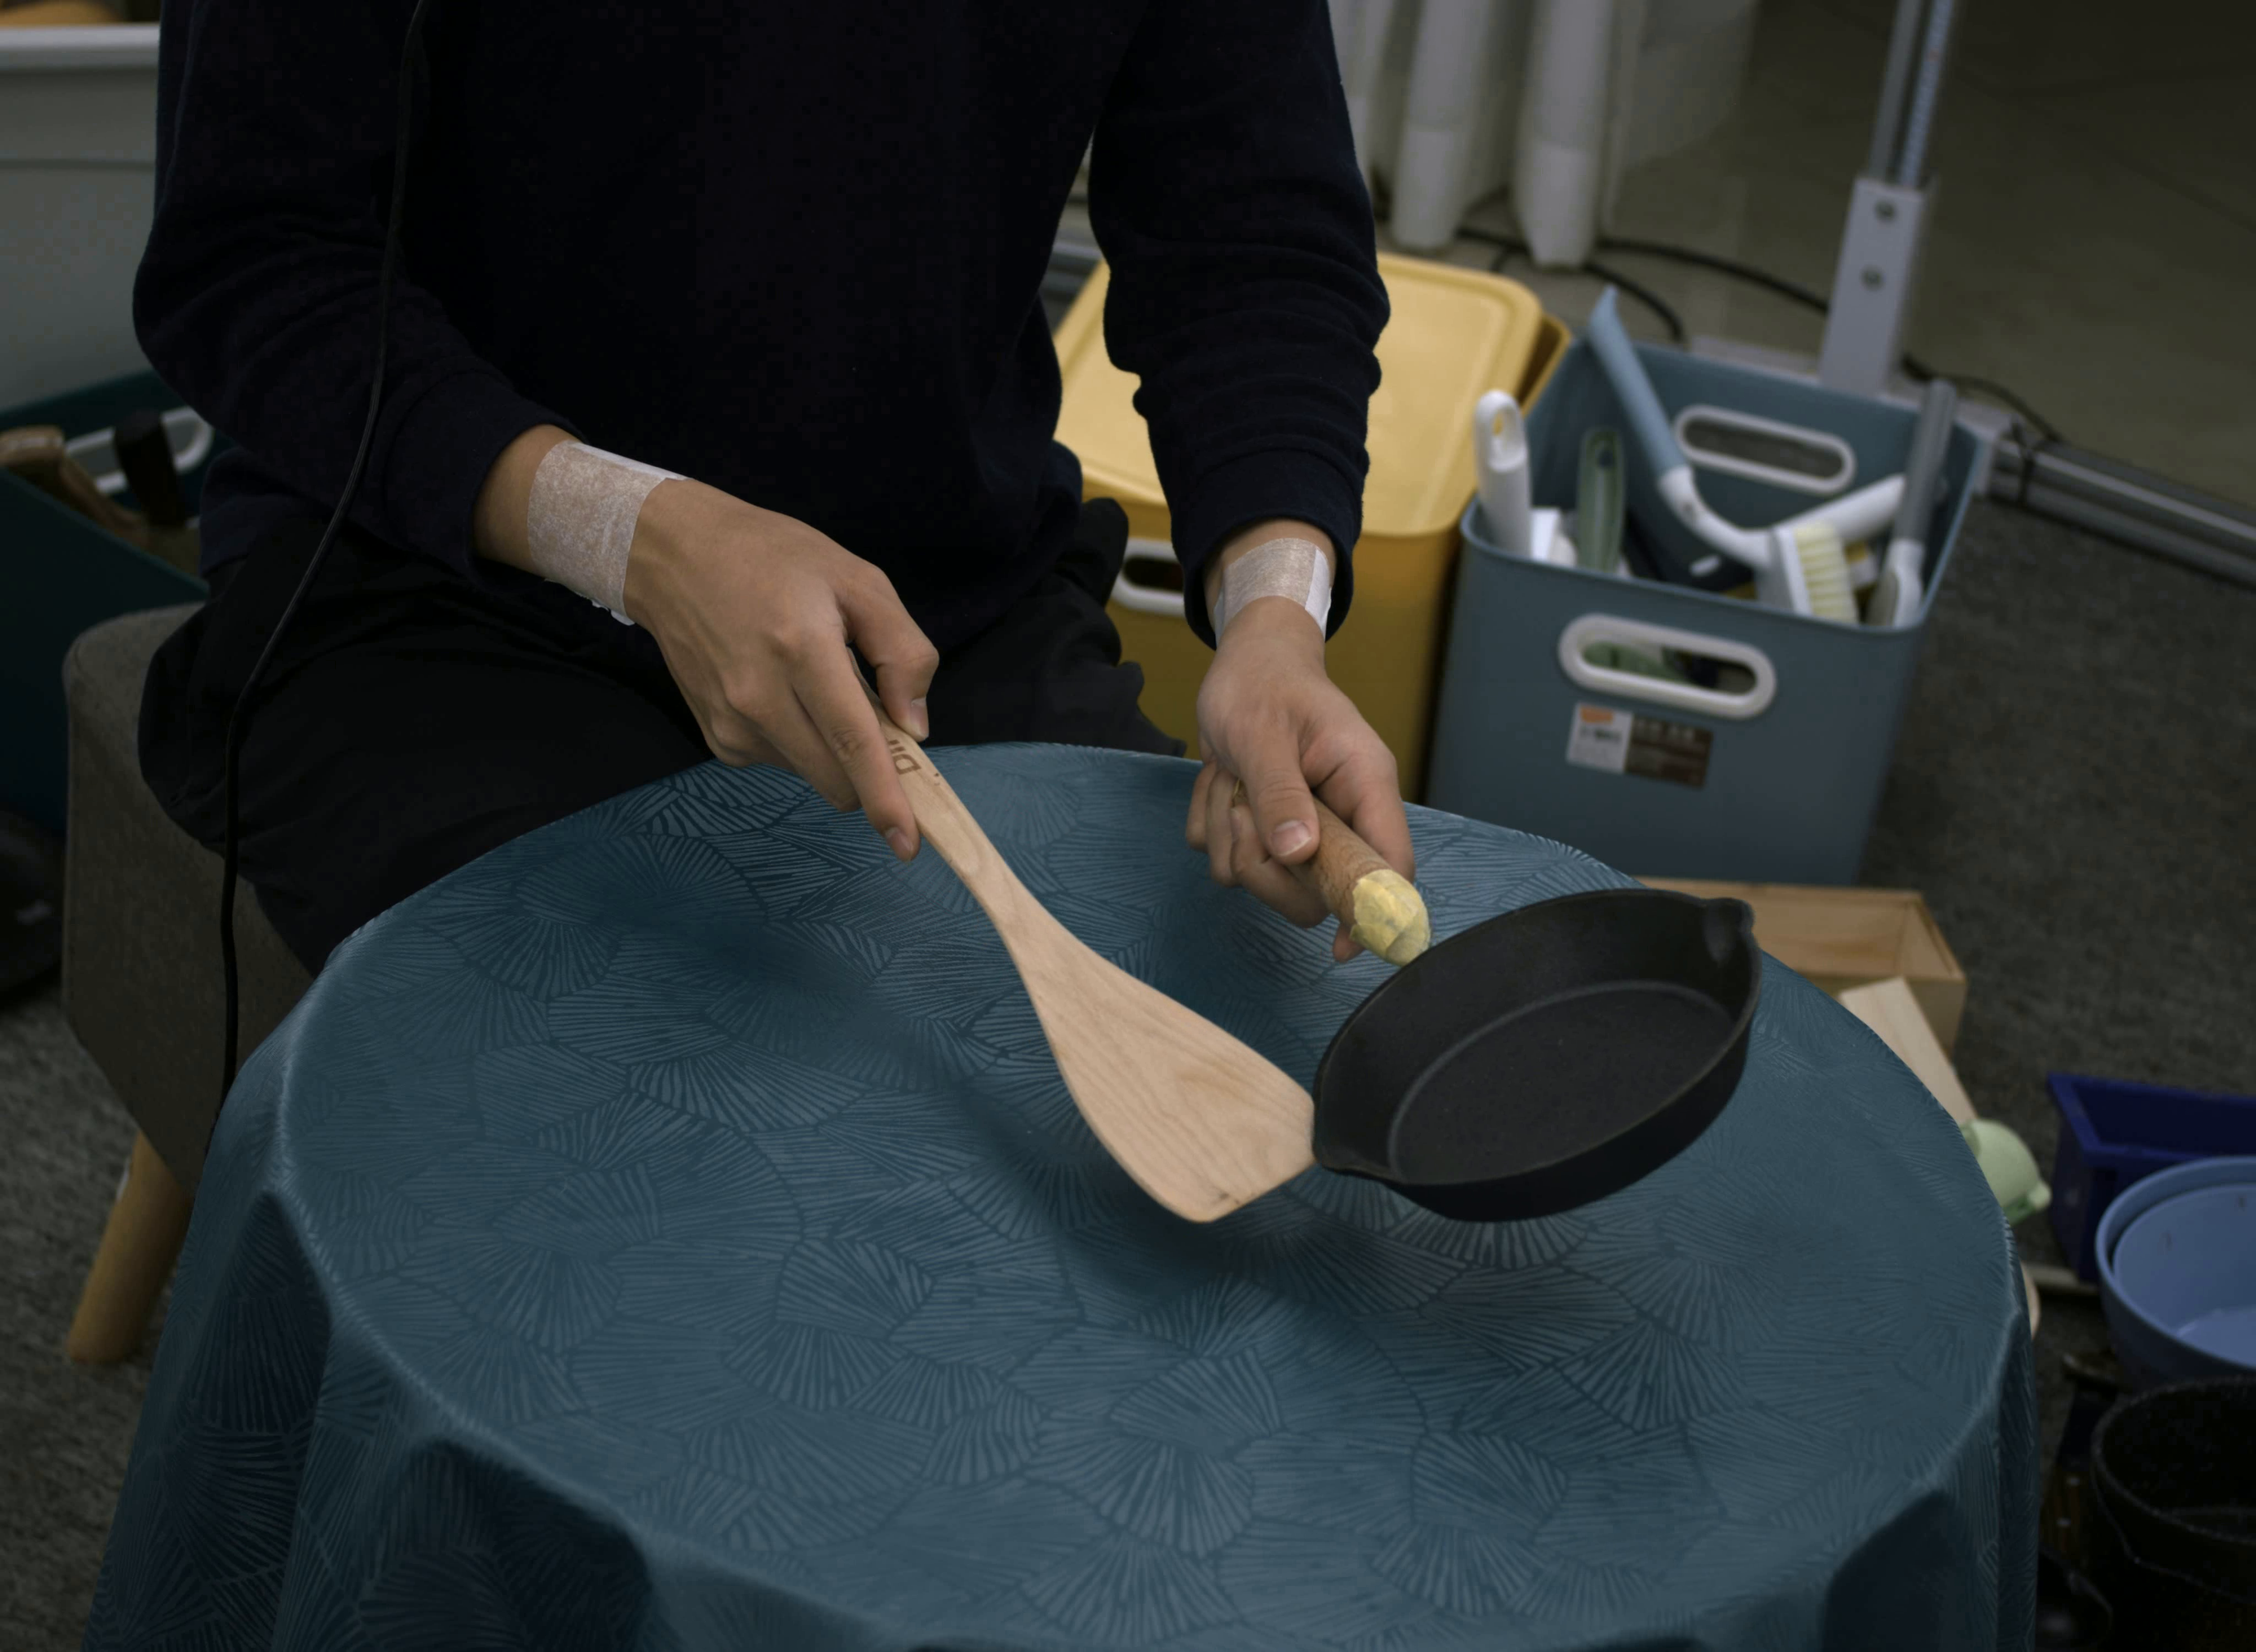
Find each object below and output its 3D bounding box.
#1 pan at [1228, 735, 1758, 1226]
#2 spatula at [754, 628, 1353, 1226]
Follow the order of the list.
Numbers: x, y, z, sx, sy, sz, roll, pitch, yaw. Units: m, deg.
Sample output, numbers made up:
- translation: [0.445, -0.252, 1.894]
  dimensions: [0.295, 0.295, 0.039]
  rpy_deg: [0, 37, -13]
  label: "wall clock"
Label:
- translation: [0.106, 0.044, 1.831]
  dimensions: [0.168, 0.049, 0.327]
  rpy_deg: [-30, 29, -8]
  label: "pan"
- translation: [-0.038, 0.026, 1.841]
  dimensions: [0.079, 0.016, 0.330]
  rpy_deg: [-18, 48, -30]
  label: "spatula"
